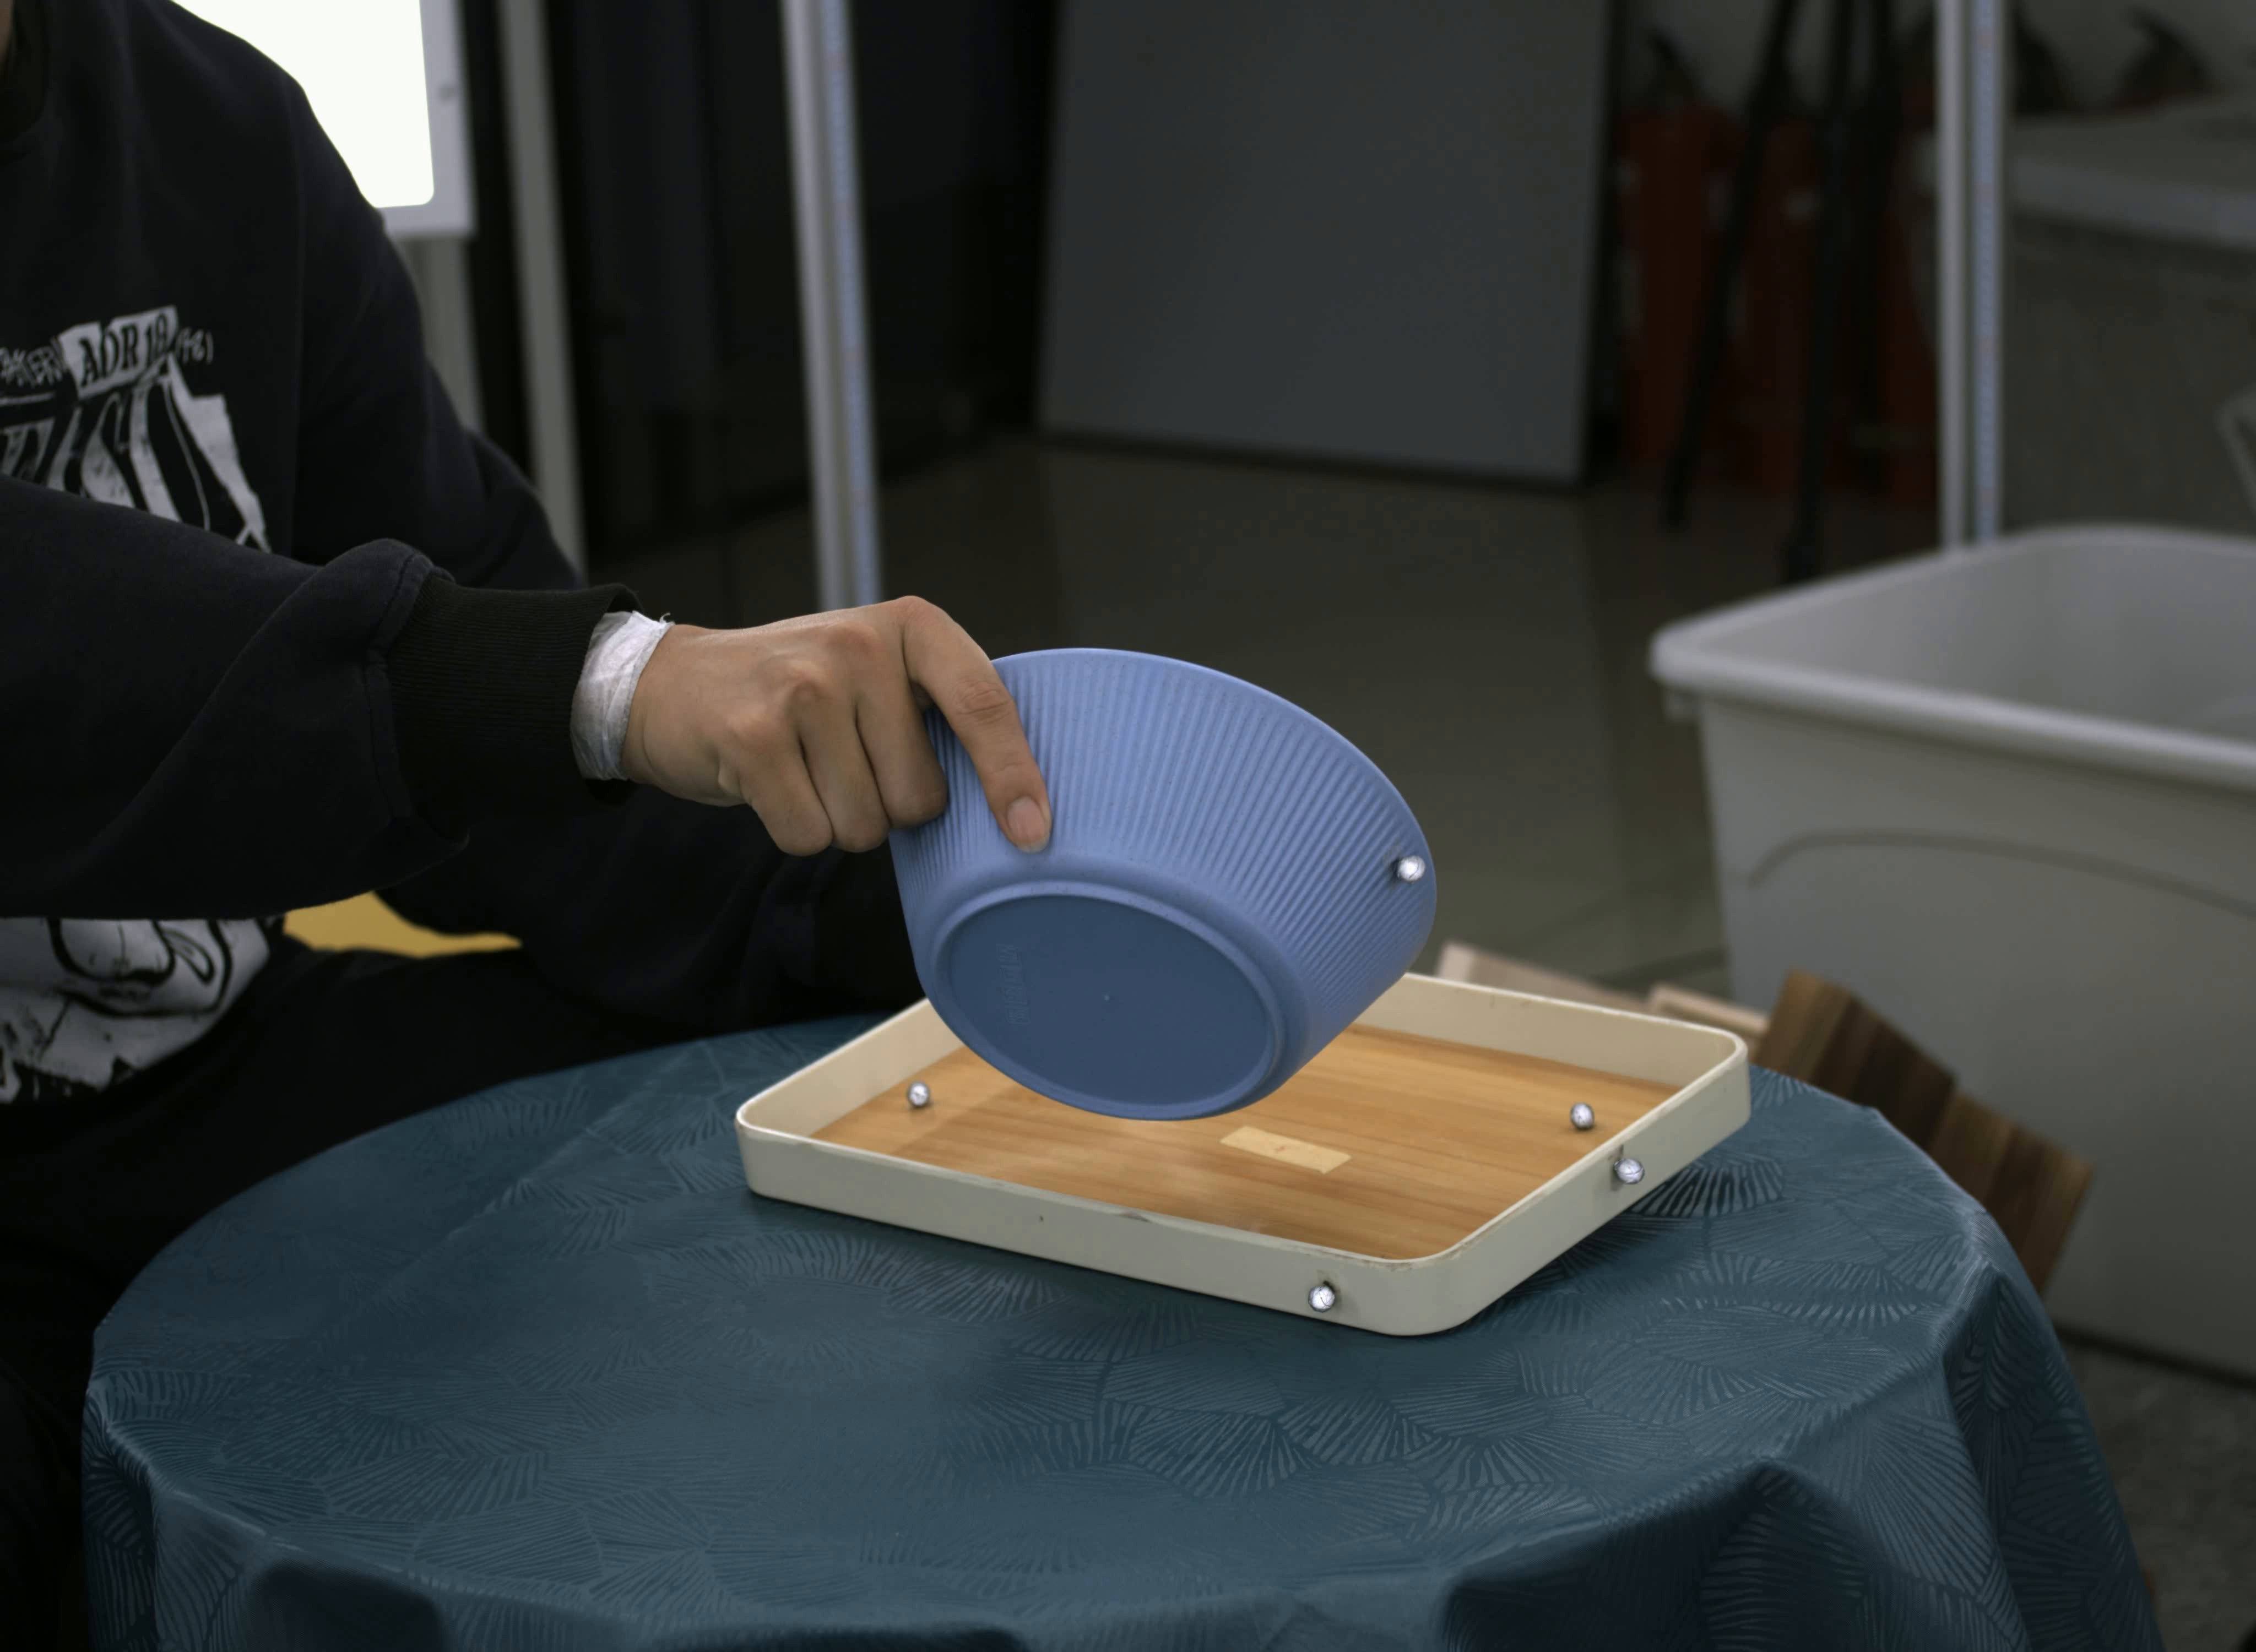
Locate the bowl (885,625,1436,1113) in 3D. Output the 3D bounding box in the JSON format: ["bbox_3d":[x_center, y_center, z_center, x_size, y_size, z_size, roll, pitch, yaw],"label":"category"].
[{"bbox_3d":[0.002,0.025,1.625,0.176,0.176,0.070,2,47,20],"label":"bowl"}]

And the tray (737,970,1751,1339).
[{"bbox_3d":[0.036,0.095,1.762,0.303,0.027,0.188,9,27,40],"label":"tray"}]
